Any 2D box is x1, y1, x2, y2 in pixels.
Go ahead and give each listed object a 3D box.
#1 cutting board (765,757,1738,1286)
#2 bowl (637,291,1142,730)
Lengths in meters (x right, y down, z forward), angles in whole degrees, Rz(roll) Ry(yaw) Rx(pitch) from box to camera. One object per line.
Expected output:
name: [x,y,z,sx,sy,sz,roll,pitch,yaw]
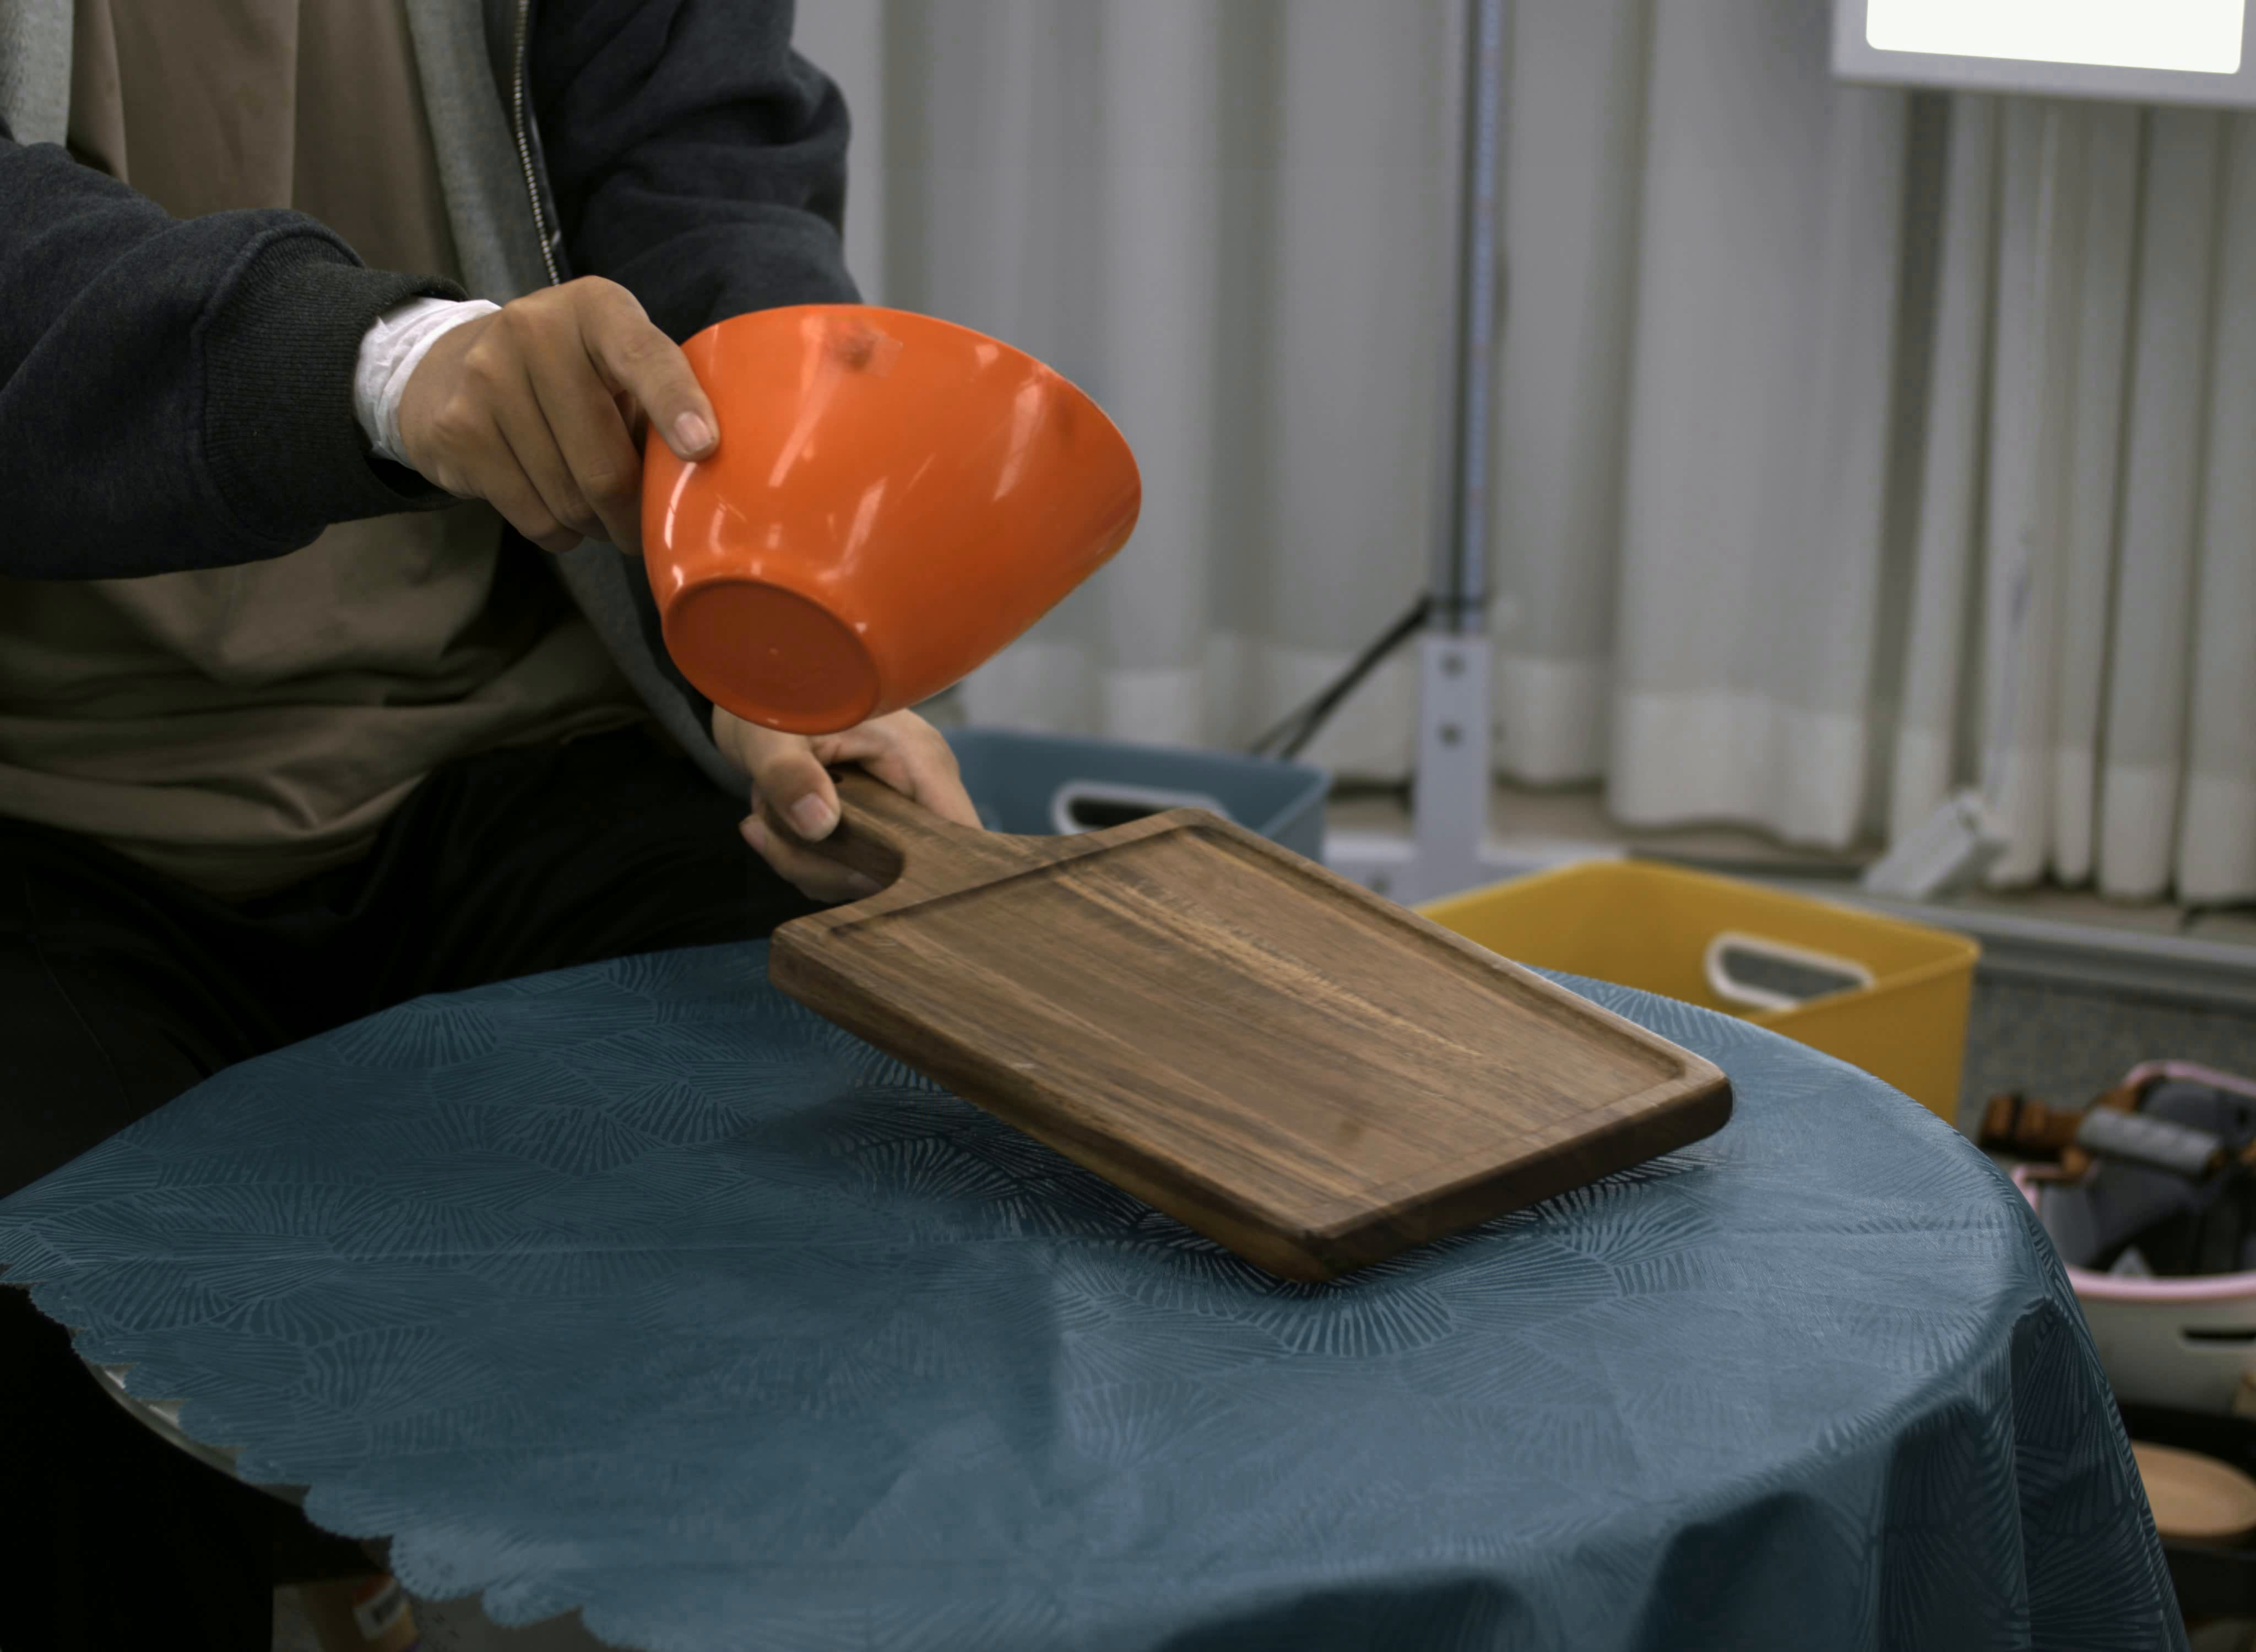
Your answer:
cutting board: [0.005,0.046,1.697,0.202,0.023,0.347,-16,32,-42]
bowl: [-0.080,-0.081,1.533,0.146,0.150,0.104,7,52,19]
